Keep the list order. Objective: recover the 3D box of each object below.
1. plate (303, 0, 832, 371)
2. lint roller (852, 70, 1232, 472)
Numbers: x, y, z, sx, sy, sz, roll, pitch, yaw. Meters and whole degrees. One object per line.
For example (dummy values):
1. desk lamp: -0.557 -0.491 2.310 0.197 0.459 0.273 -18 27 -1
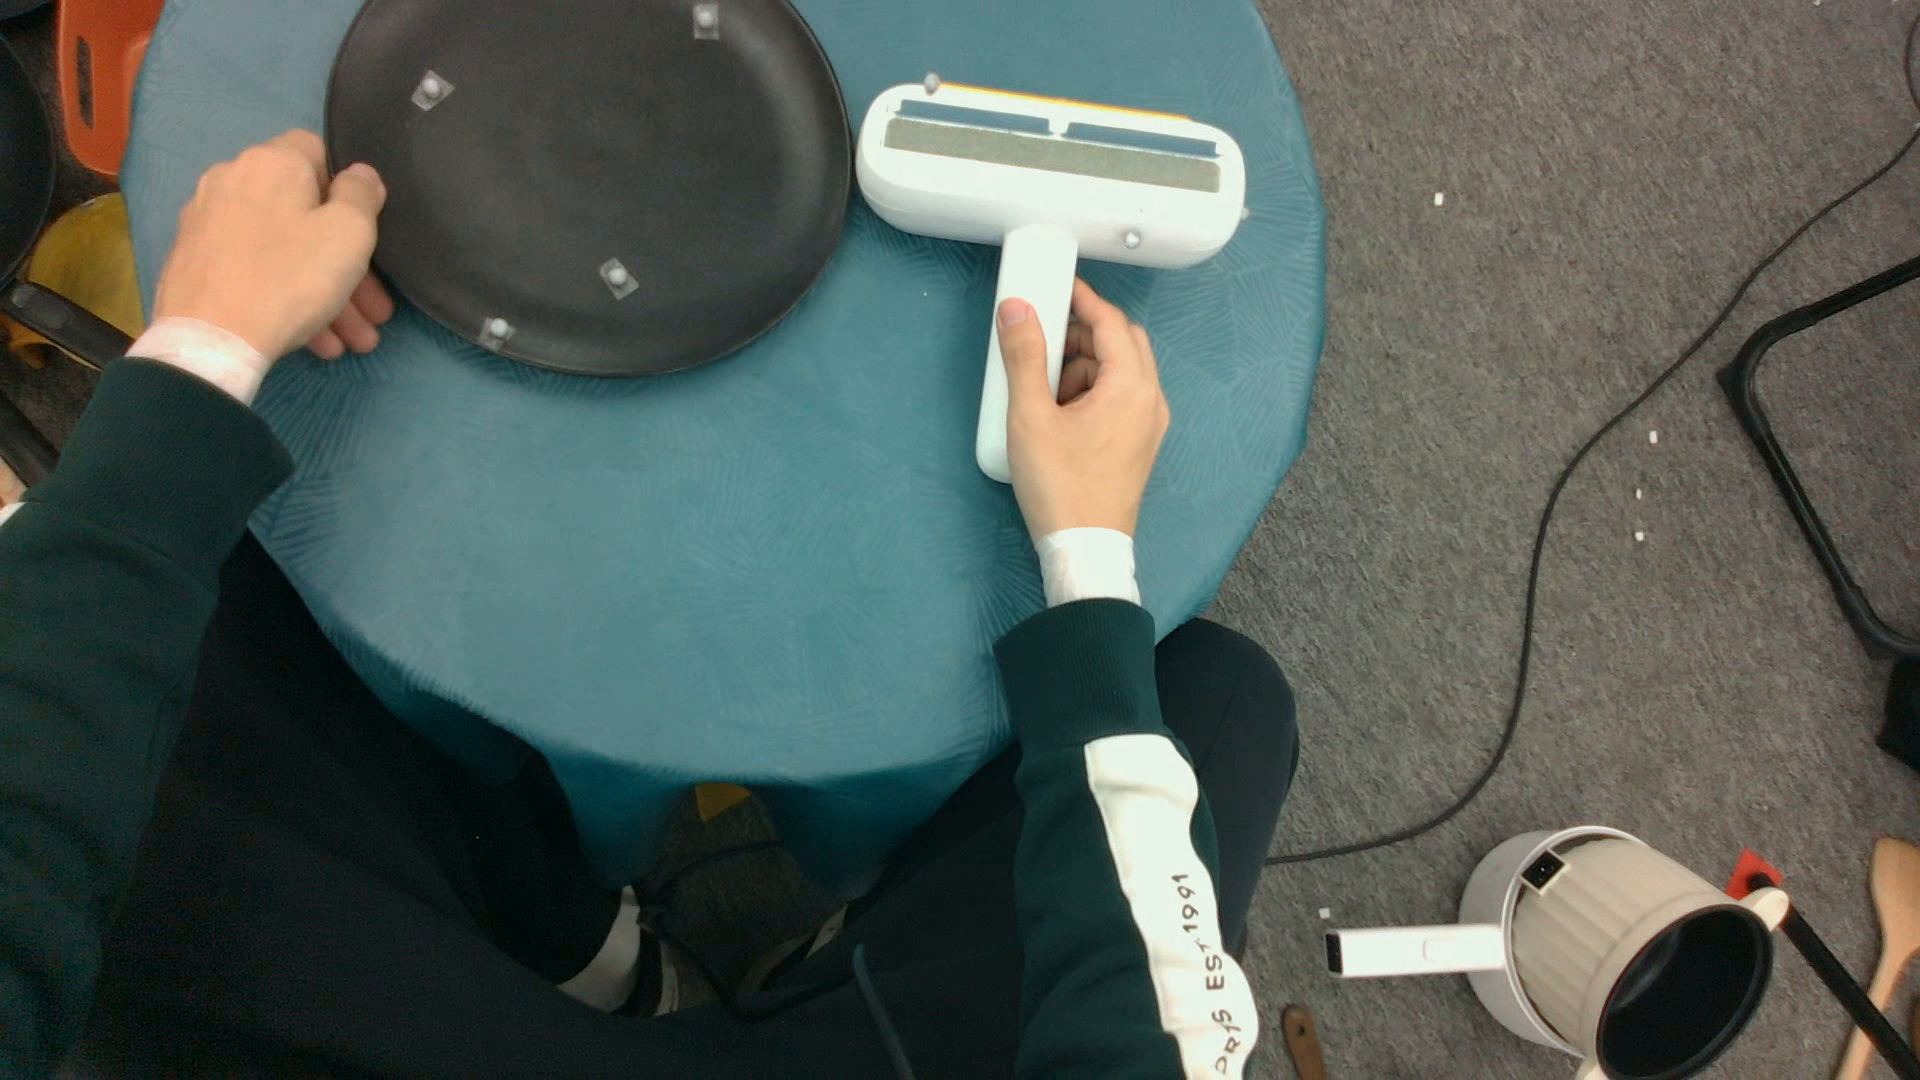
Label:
1. plate: -0.184 -0.195 0.668 0.244 0.023 0.245 3 77 -14
2. lint roller: 0.027 -0.129 0.705 0.193 0.074 0.192 13 90 -3
